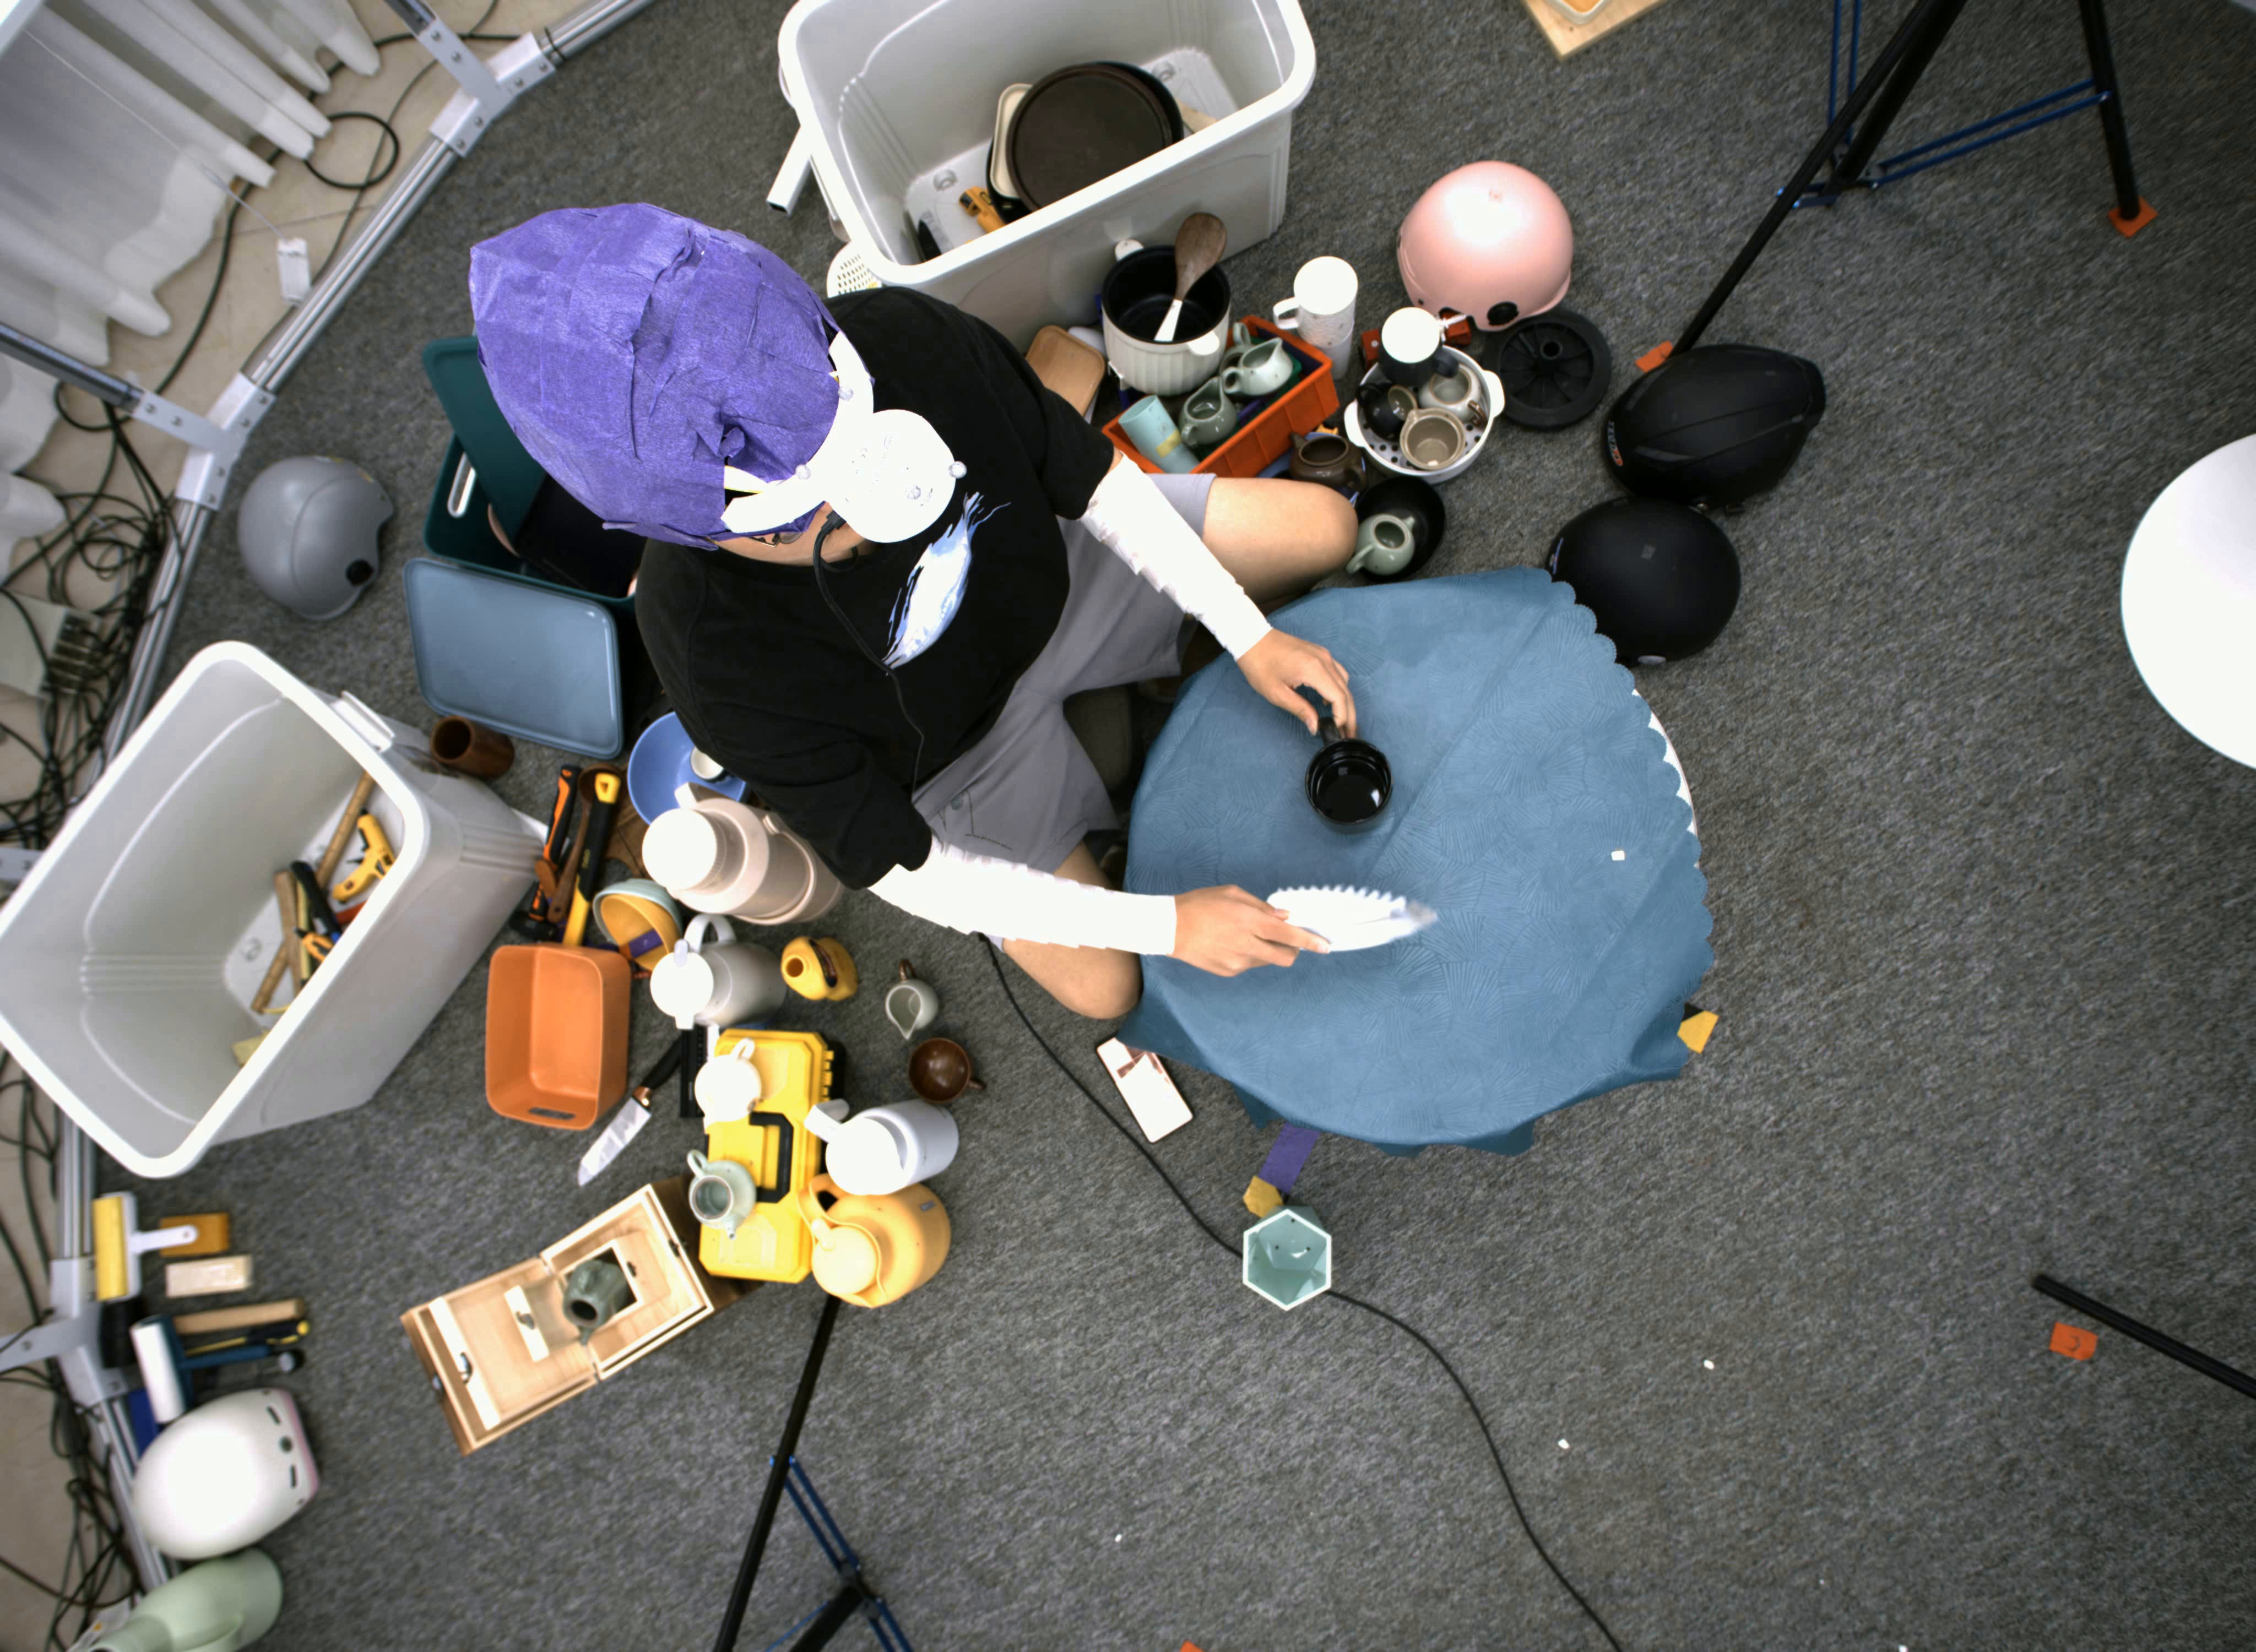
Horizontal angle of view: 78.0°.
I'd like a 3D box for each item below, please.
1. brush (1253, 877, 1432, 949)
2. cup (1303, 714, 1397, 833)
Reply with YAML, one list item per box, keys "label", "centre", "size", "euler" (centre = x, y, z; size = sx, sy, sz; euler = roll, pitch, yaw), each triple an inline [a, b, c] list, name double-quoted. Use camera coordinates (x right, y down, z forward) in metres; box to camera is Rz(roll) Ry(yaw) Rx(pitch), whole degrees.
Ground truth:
- label: "brush"
  centre: [0.207, 0.091, 1.377]
  size: [0.177, 0.092, 0.062]
  euler: [-1, 110, 32]
- label: "cup"
  centre: [0.225, -0.058, 1.423]
  size: [0.089, 0.105, 0.123]
  euler: [-19, 82, 13]
